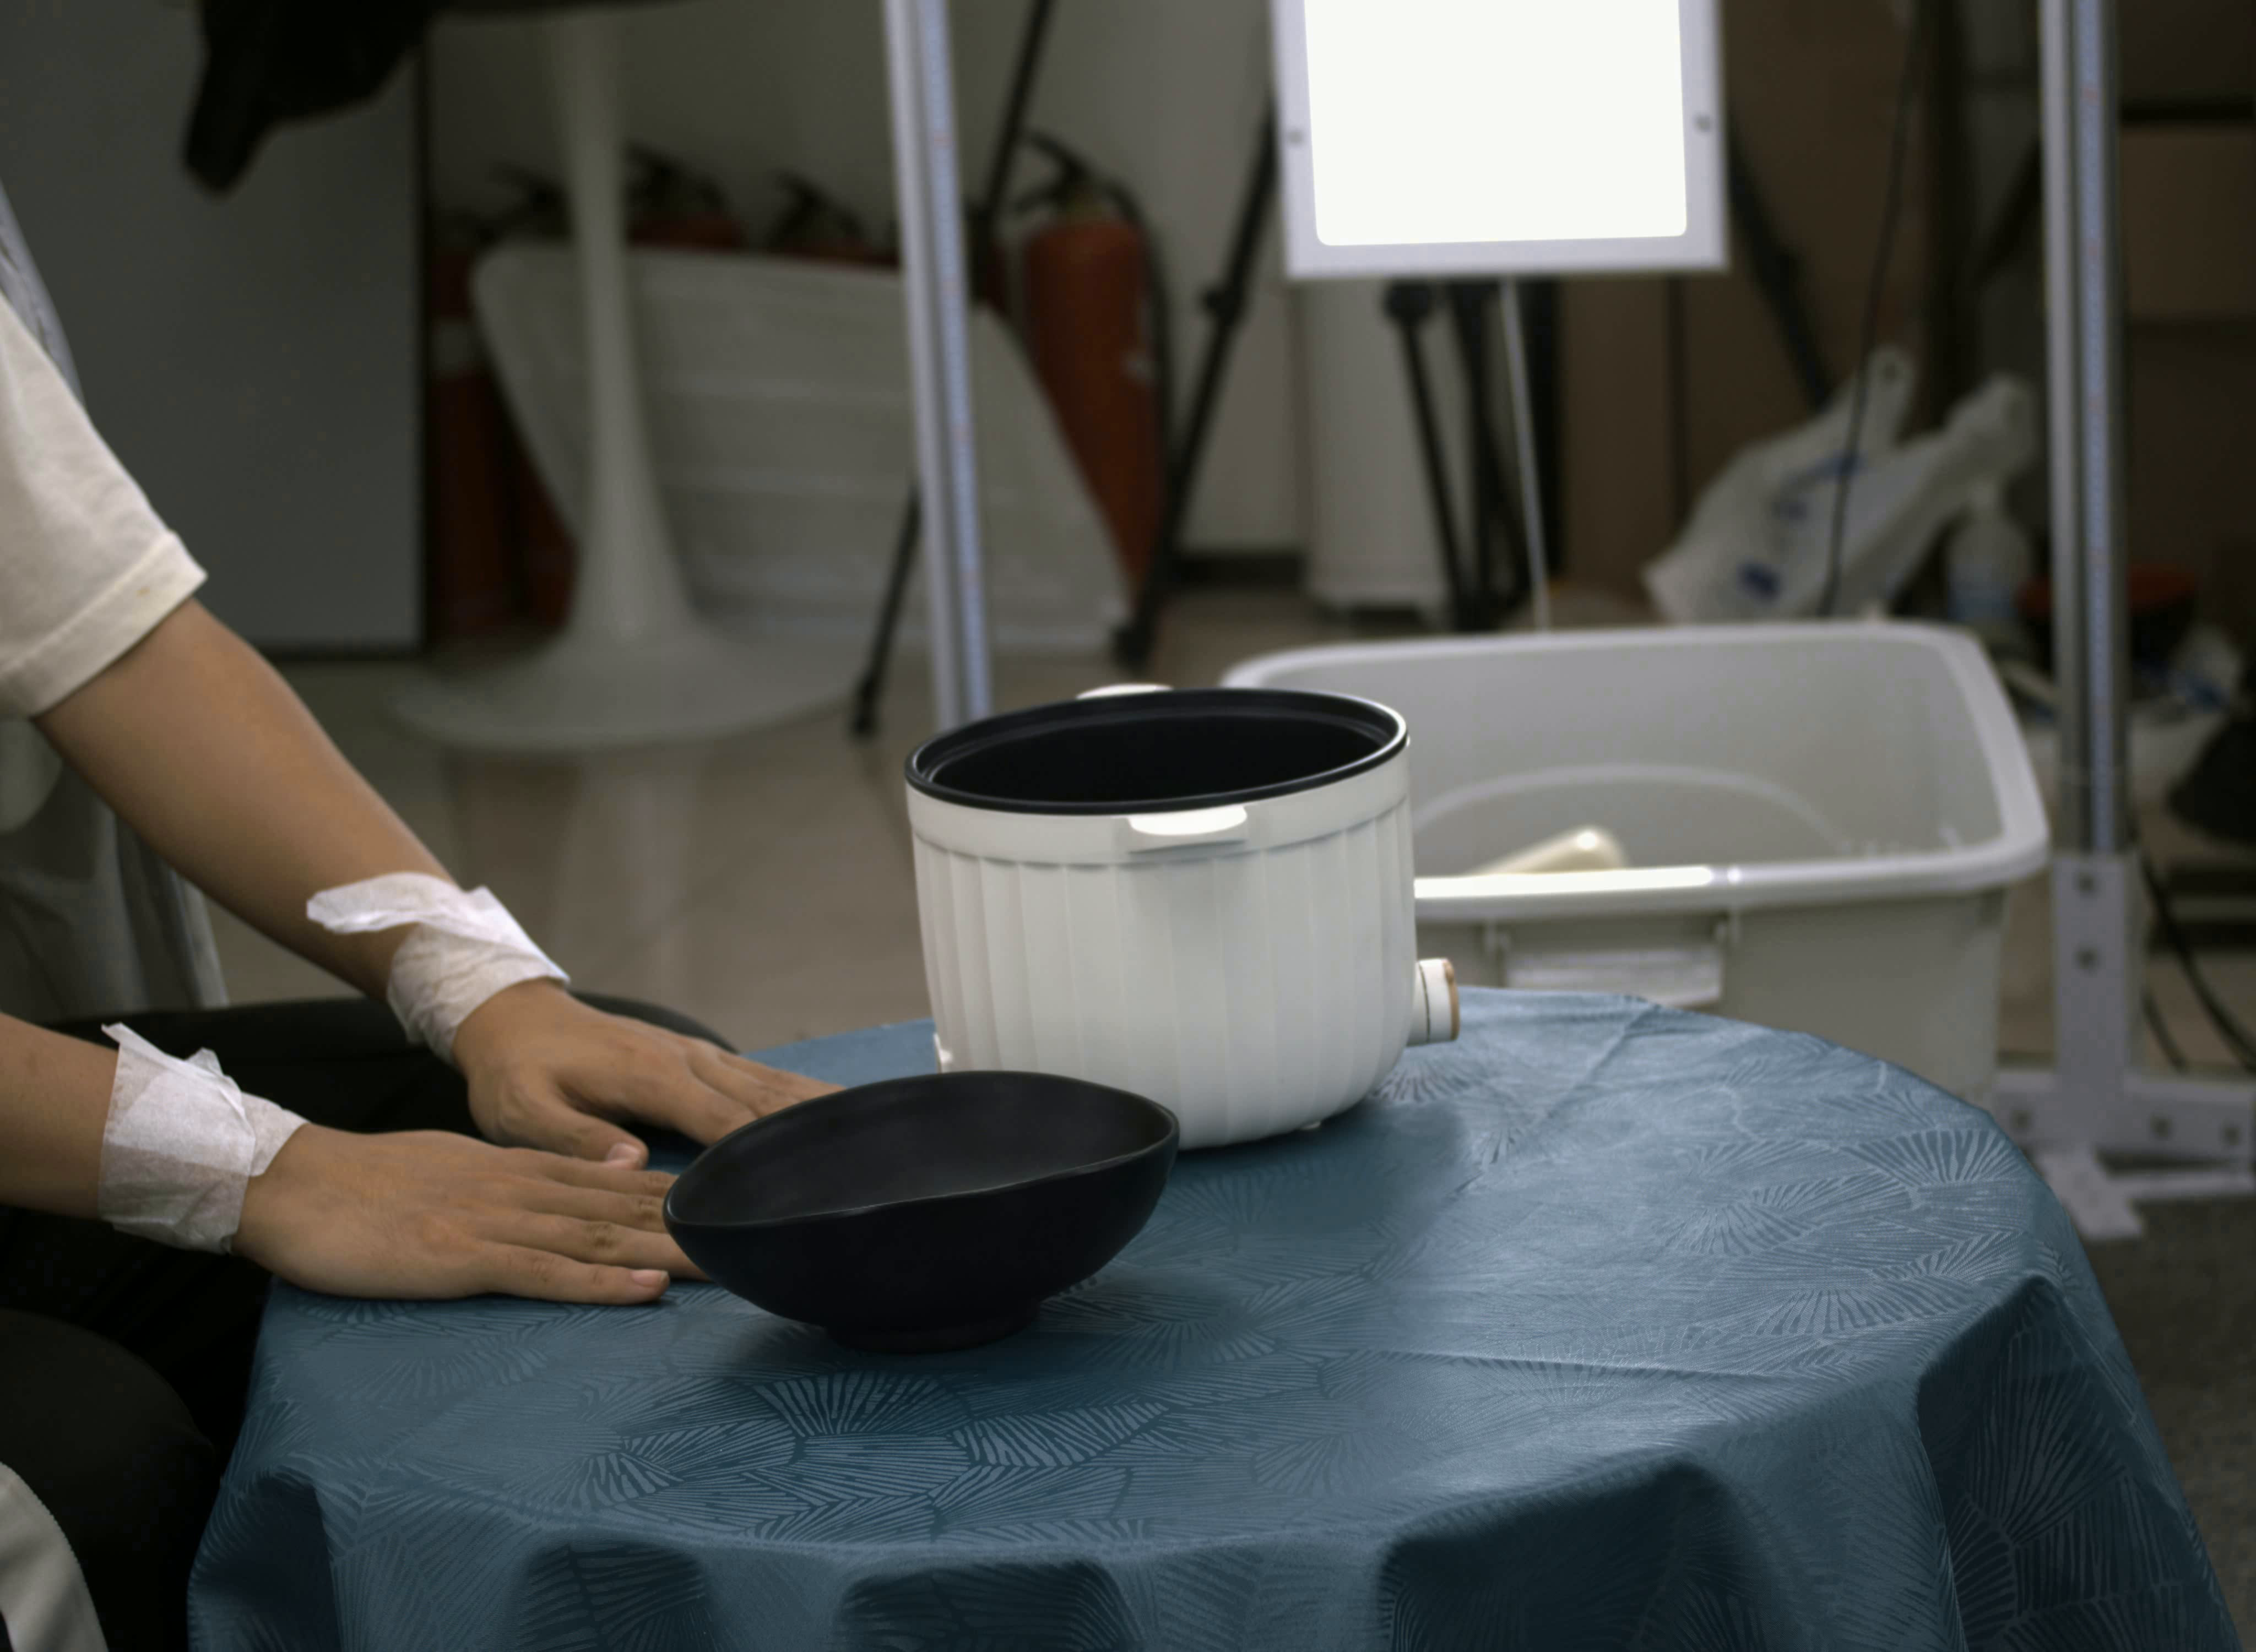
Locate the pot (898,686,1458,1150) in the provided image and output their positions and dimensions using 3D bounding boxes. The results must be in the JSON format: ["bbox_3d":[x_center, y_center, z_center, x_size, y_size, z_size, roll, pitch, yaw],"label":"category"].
[{"bbox_3d":[0.019,0.034,1.978,0.189,0.143,0.241,-9,15,-4],"label":"pot"}]

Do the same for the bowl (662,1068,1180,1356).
[{"bbox_3d":[-0.063,0.129,1.773,0.168,0.067,0.138,-9,13,-13],"label":"bowl"}]
